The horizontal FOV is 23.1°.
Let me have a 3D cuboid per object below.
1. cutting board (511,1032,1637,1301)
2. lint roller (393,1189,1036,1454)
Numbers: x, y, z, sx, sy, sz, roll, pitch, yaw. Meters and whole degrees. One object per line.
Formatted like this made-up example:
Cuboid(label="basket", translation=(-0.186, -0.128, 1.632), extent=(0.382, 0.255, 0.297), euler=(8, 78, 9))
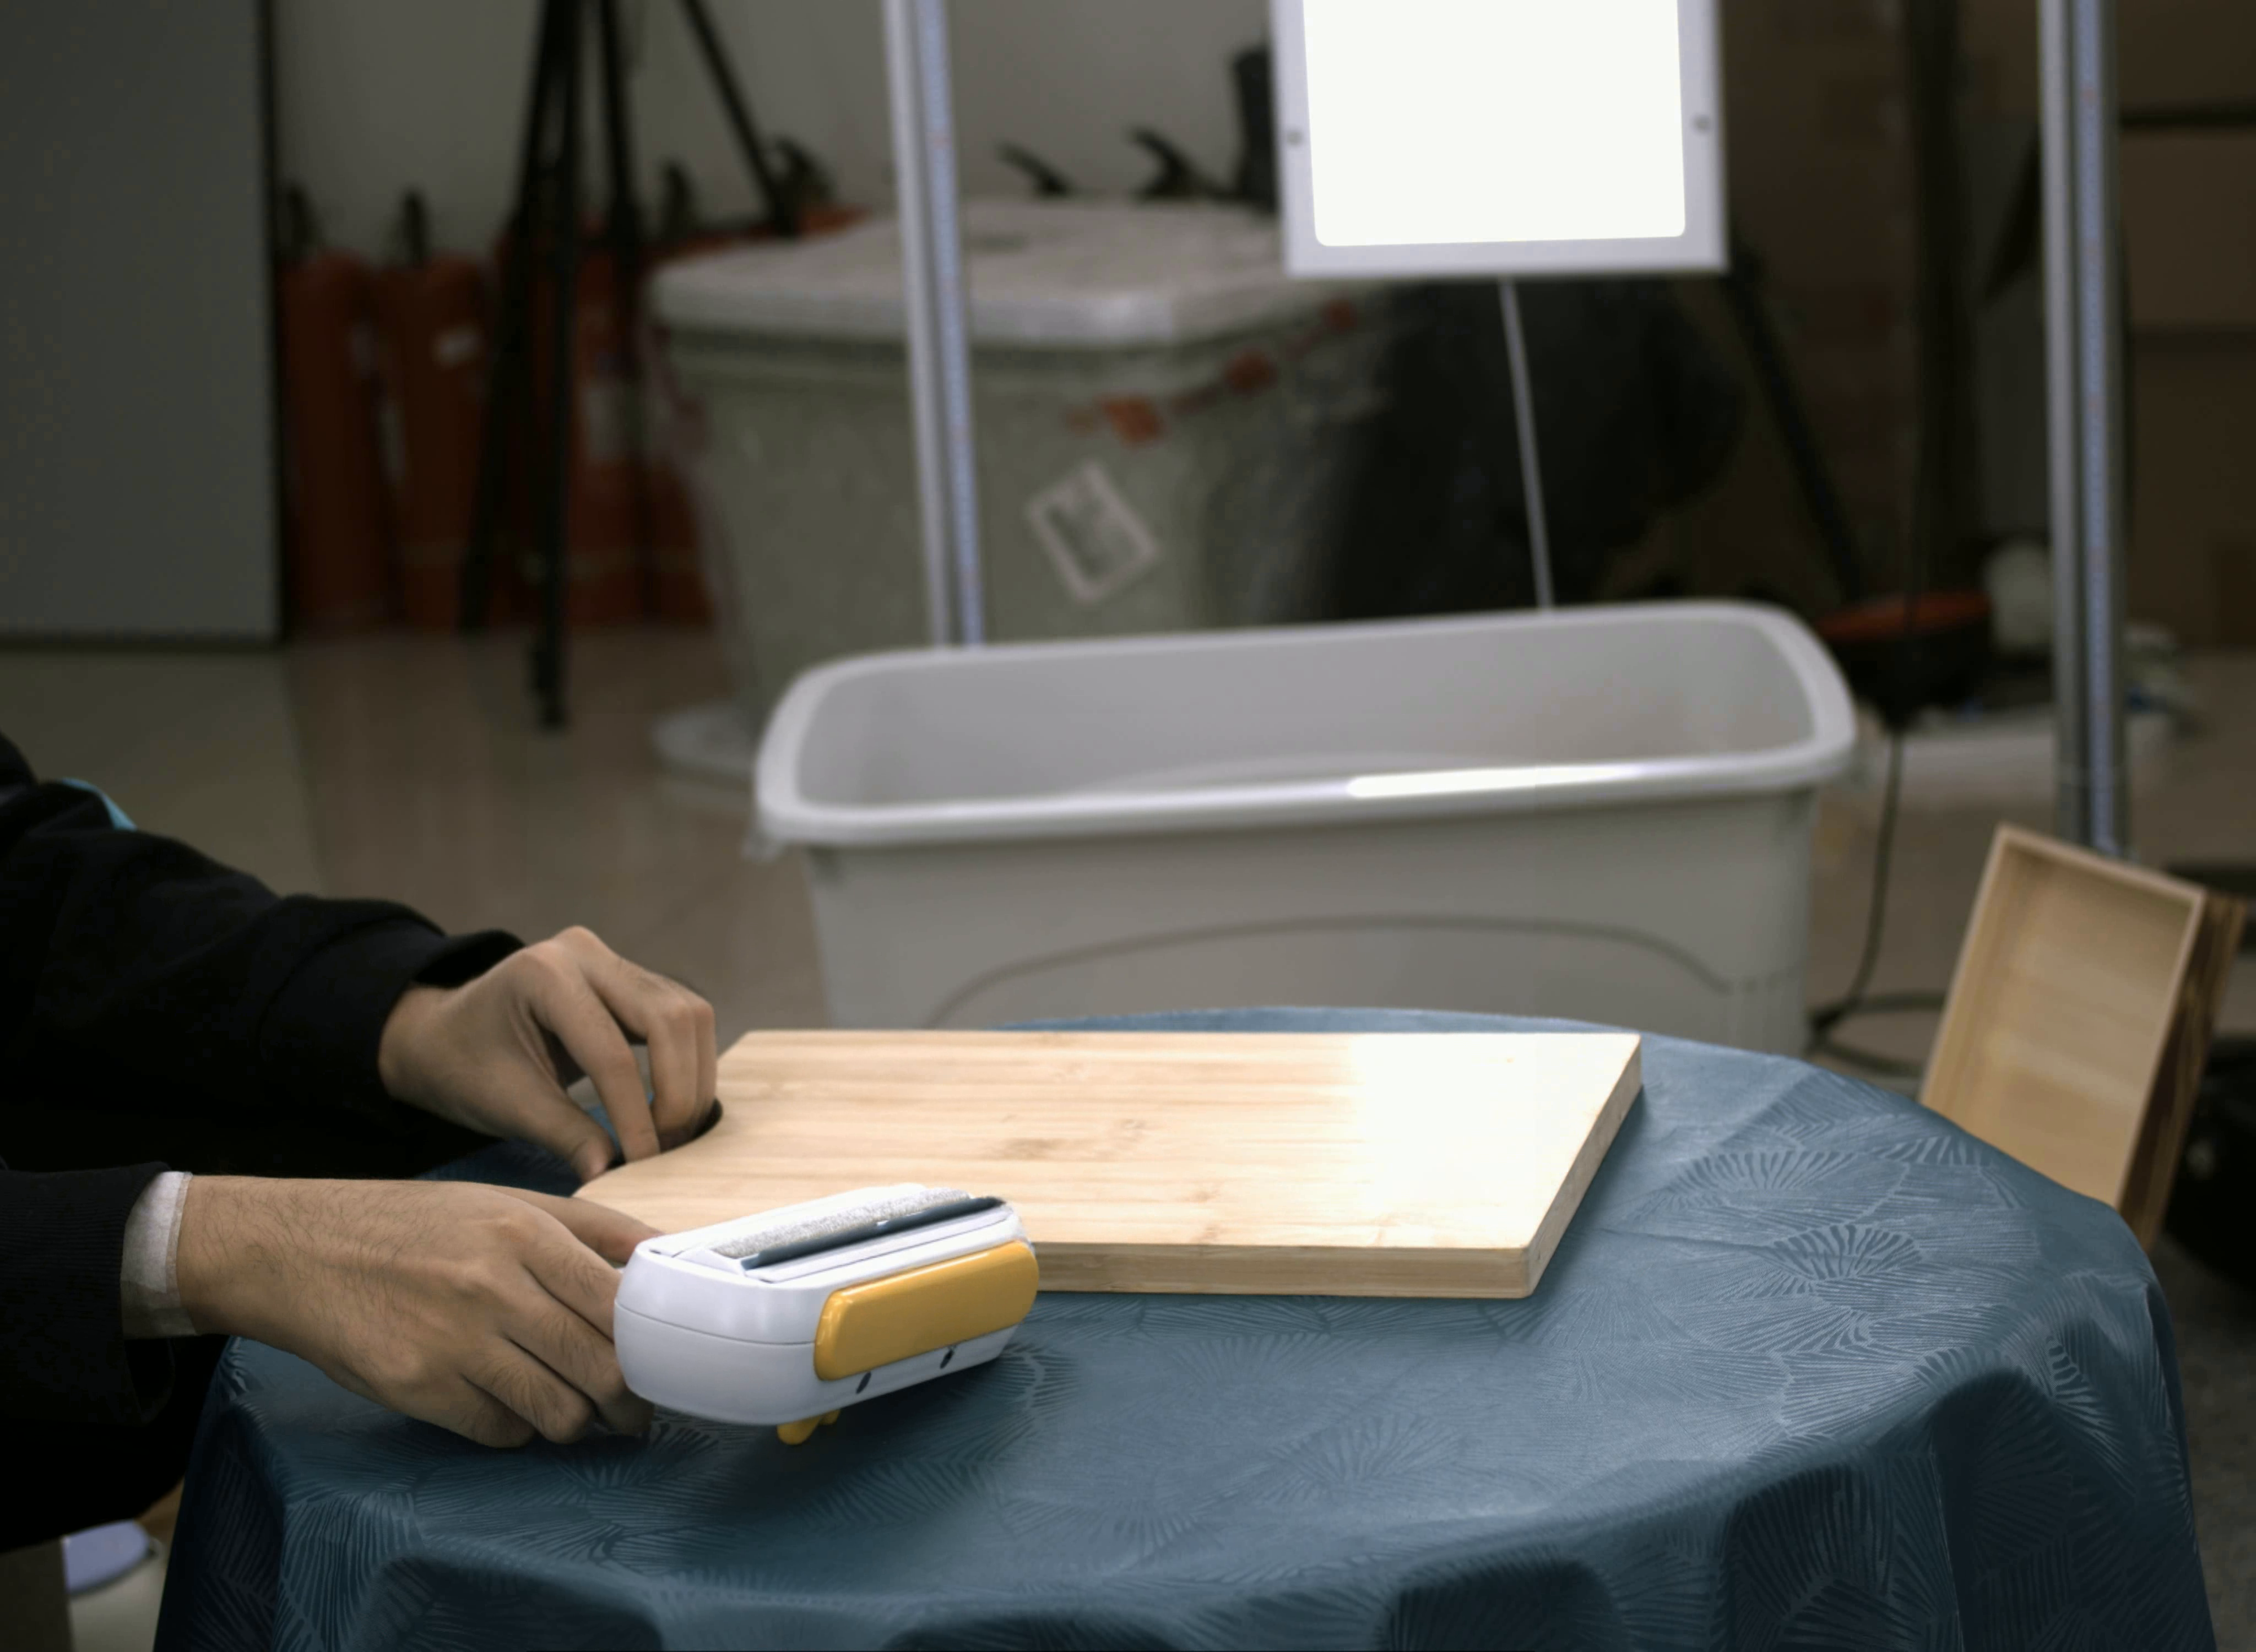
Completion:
Cuboid(label="cutting board", translation=(-0.012, 0.115, 1.912), extent=(0.352, 0.023, 0.247), euler=(-1, 14, 16))
Cuboid(label="lint roller", translation=(-0.145, 0.150, 1.706), extent=(0.196, 0.074, 0.188), euler=(3, 9, 29))
